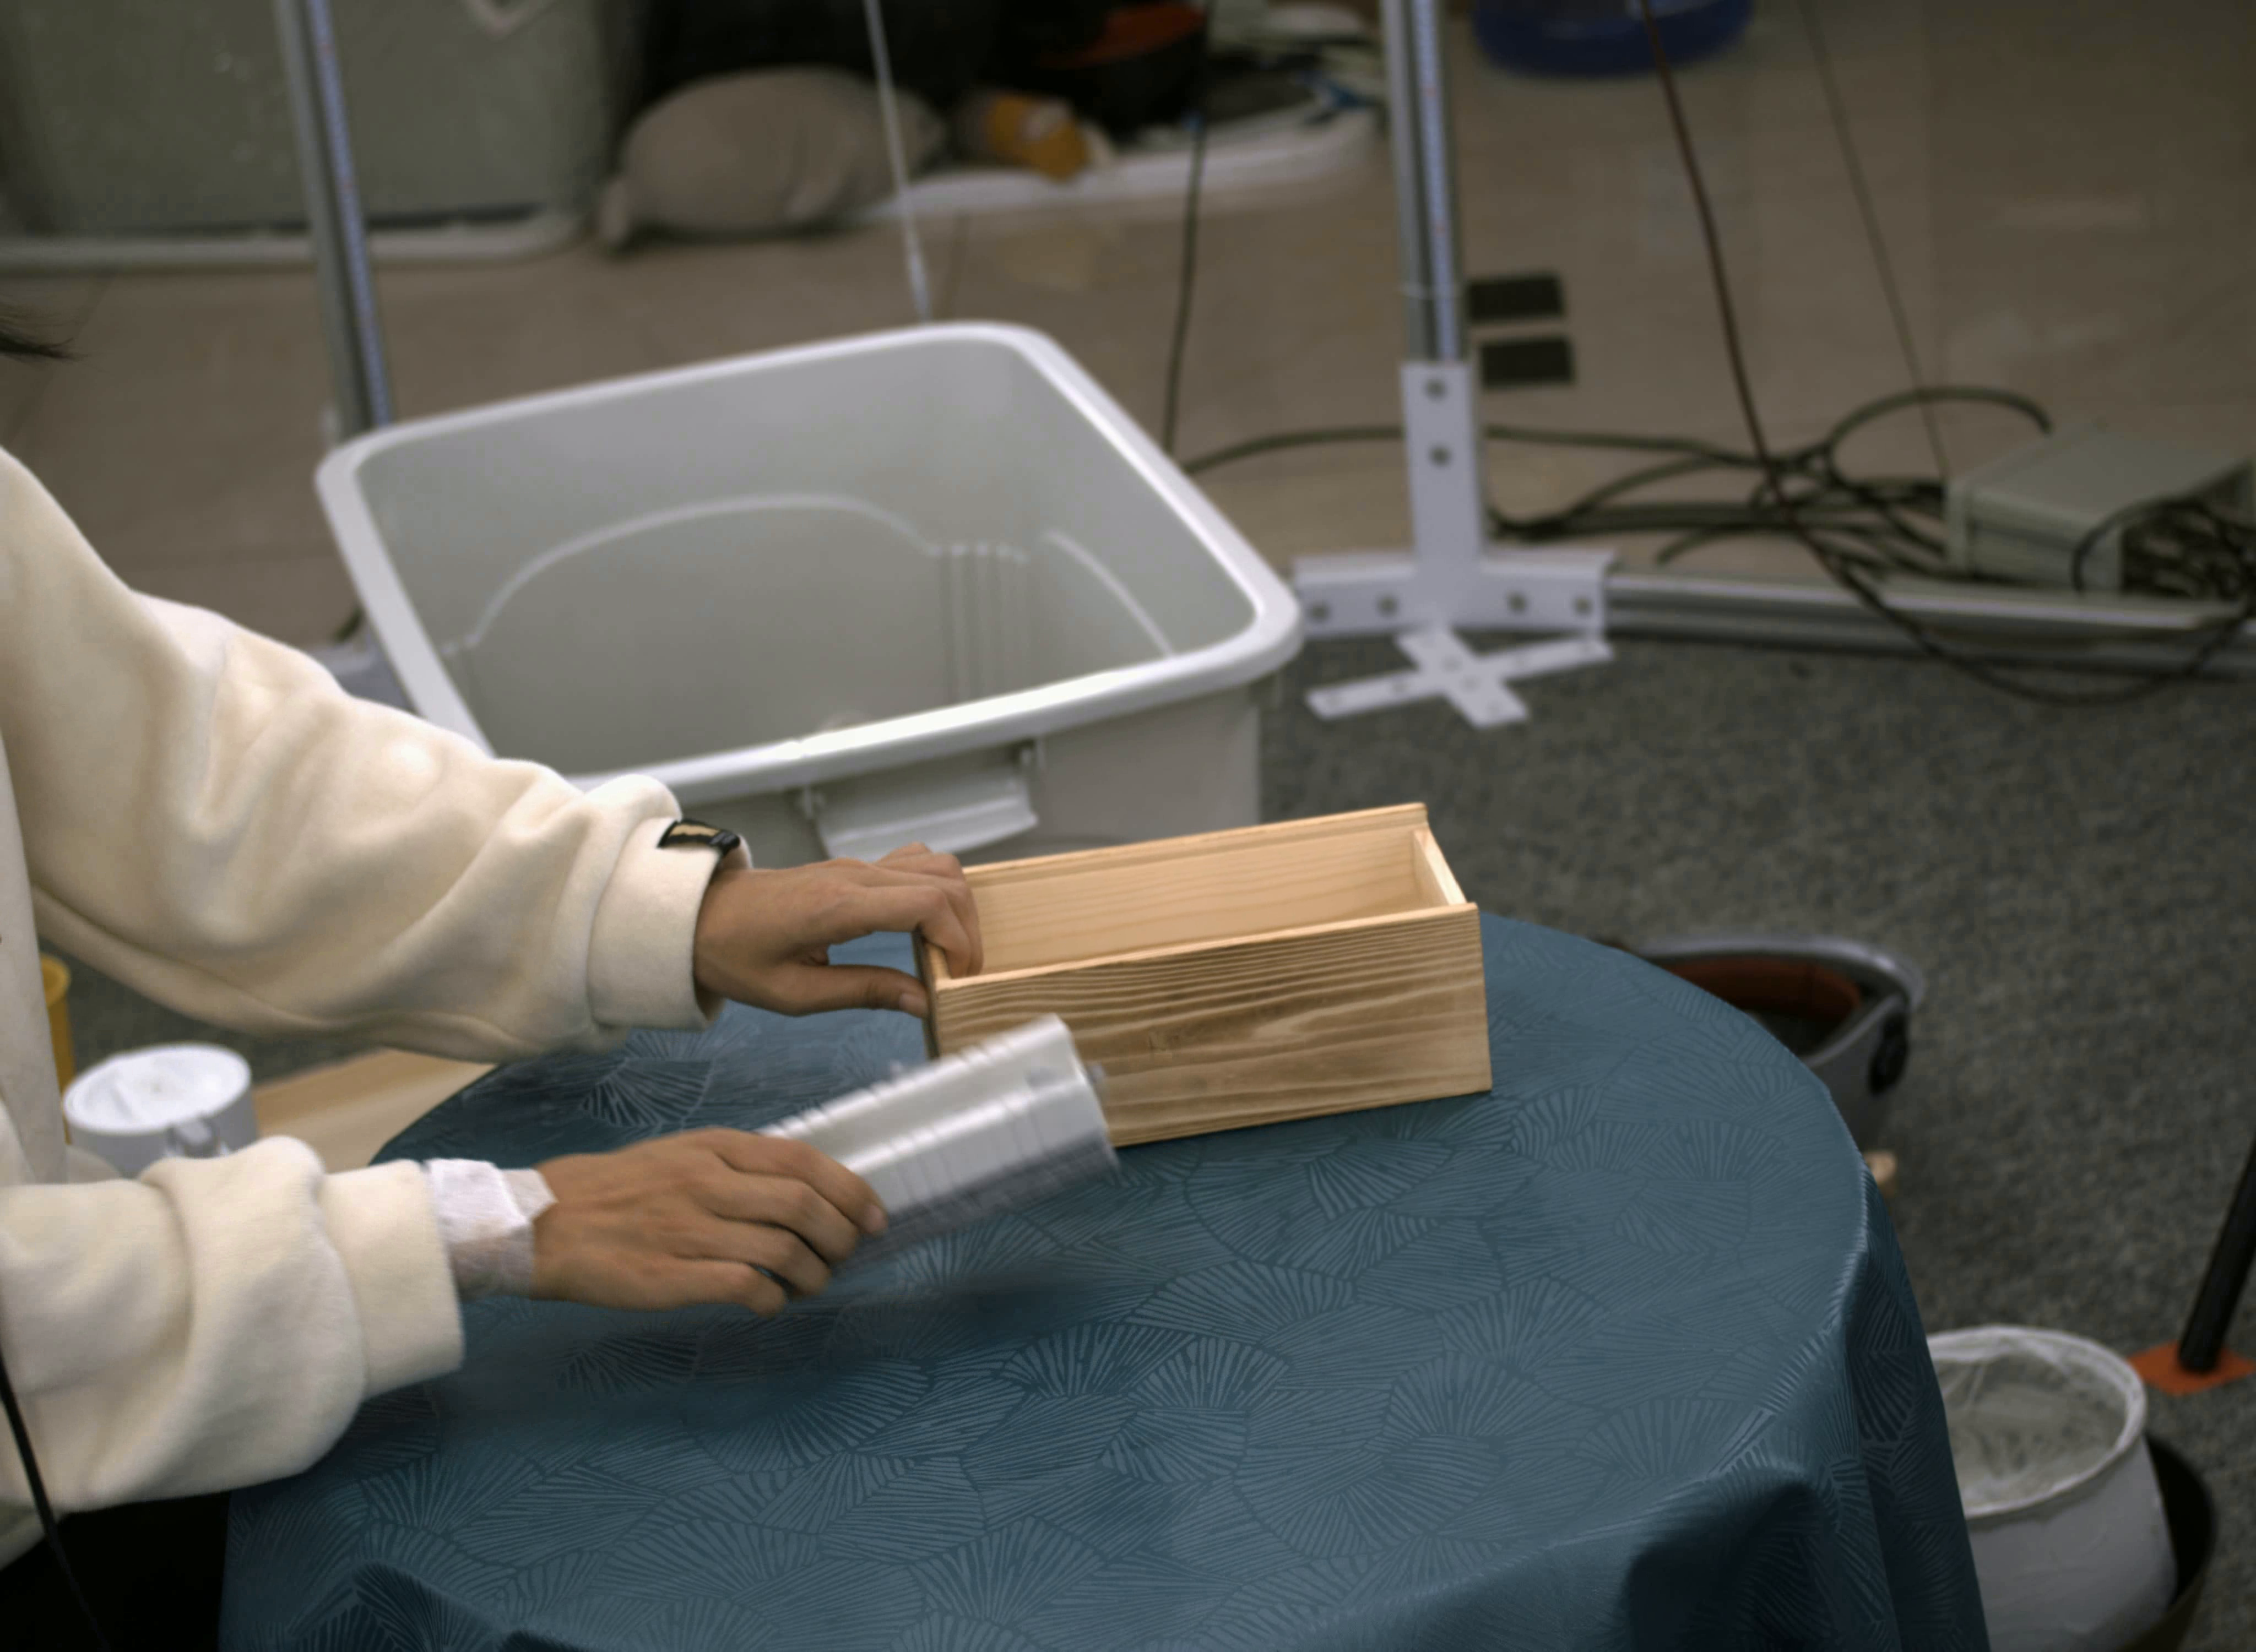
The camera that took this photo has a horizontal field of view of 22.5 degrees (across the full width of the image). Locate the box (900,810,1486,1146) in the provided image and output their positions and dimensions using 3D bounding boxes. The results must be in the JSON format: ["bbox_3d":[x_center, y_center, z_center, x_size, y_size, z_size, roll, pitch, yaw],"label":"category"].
[{"bbox_3d":[0.024,0.062,2.209,0.211,0.081,0.106,-8,25,-6],"label":"box"}]

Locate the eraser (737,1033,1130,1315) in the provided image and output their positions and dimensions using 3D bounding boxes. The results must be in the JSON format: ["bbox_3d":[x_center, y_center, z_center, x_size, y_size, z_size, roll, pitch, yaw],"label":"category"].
[{"bbox_3d":[-0.070,0.127,2.058,0.134,0.047,0.049,-20,32,-3],"label":"eraser"}]
